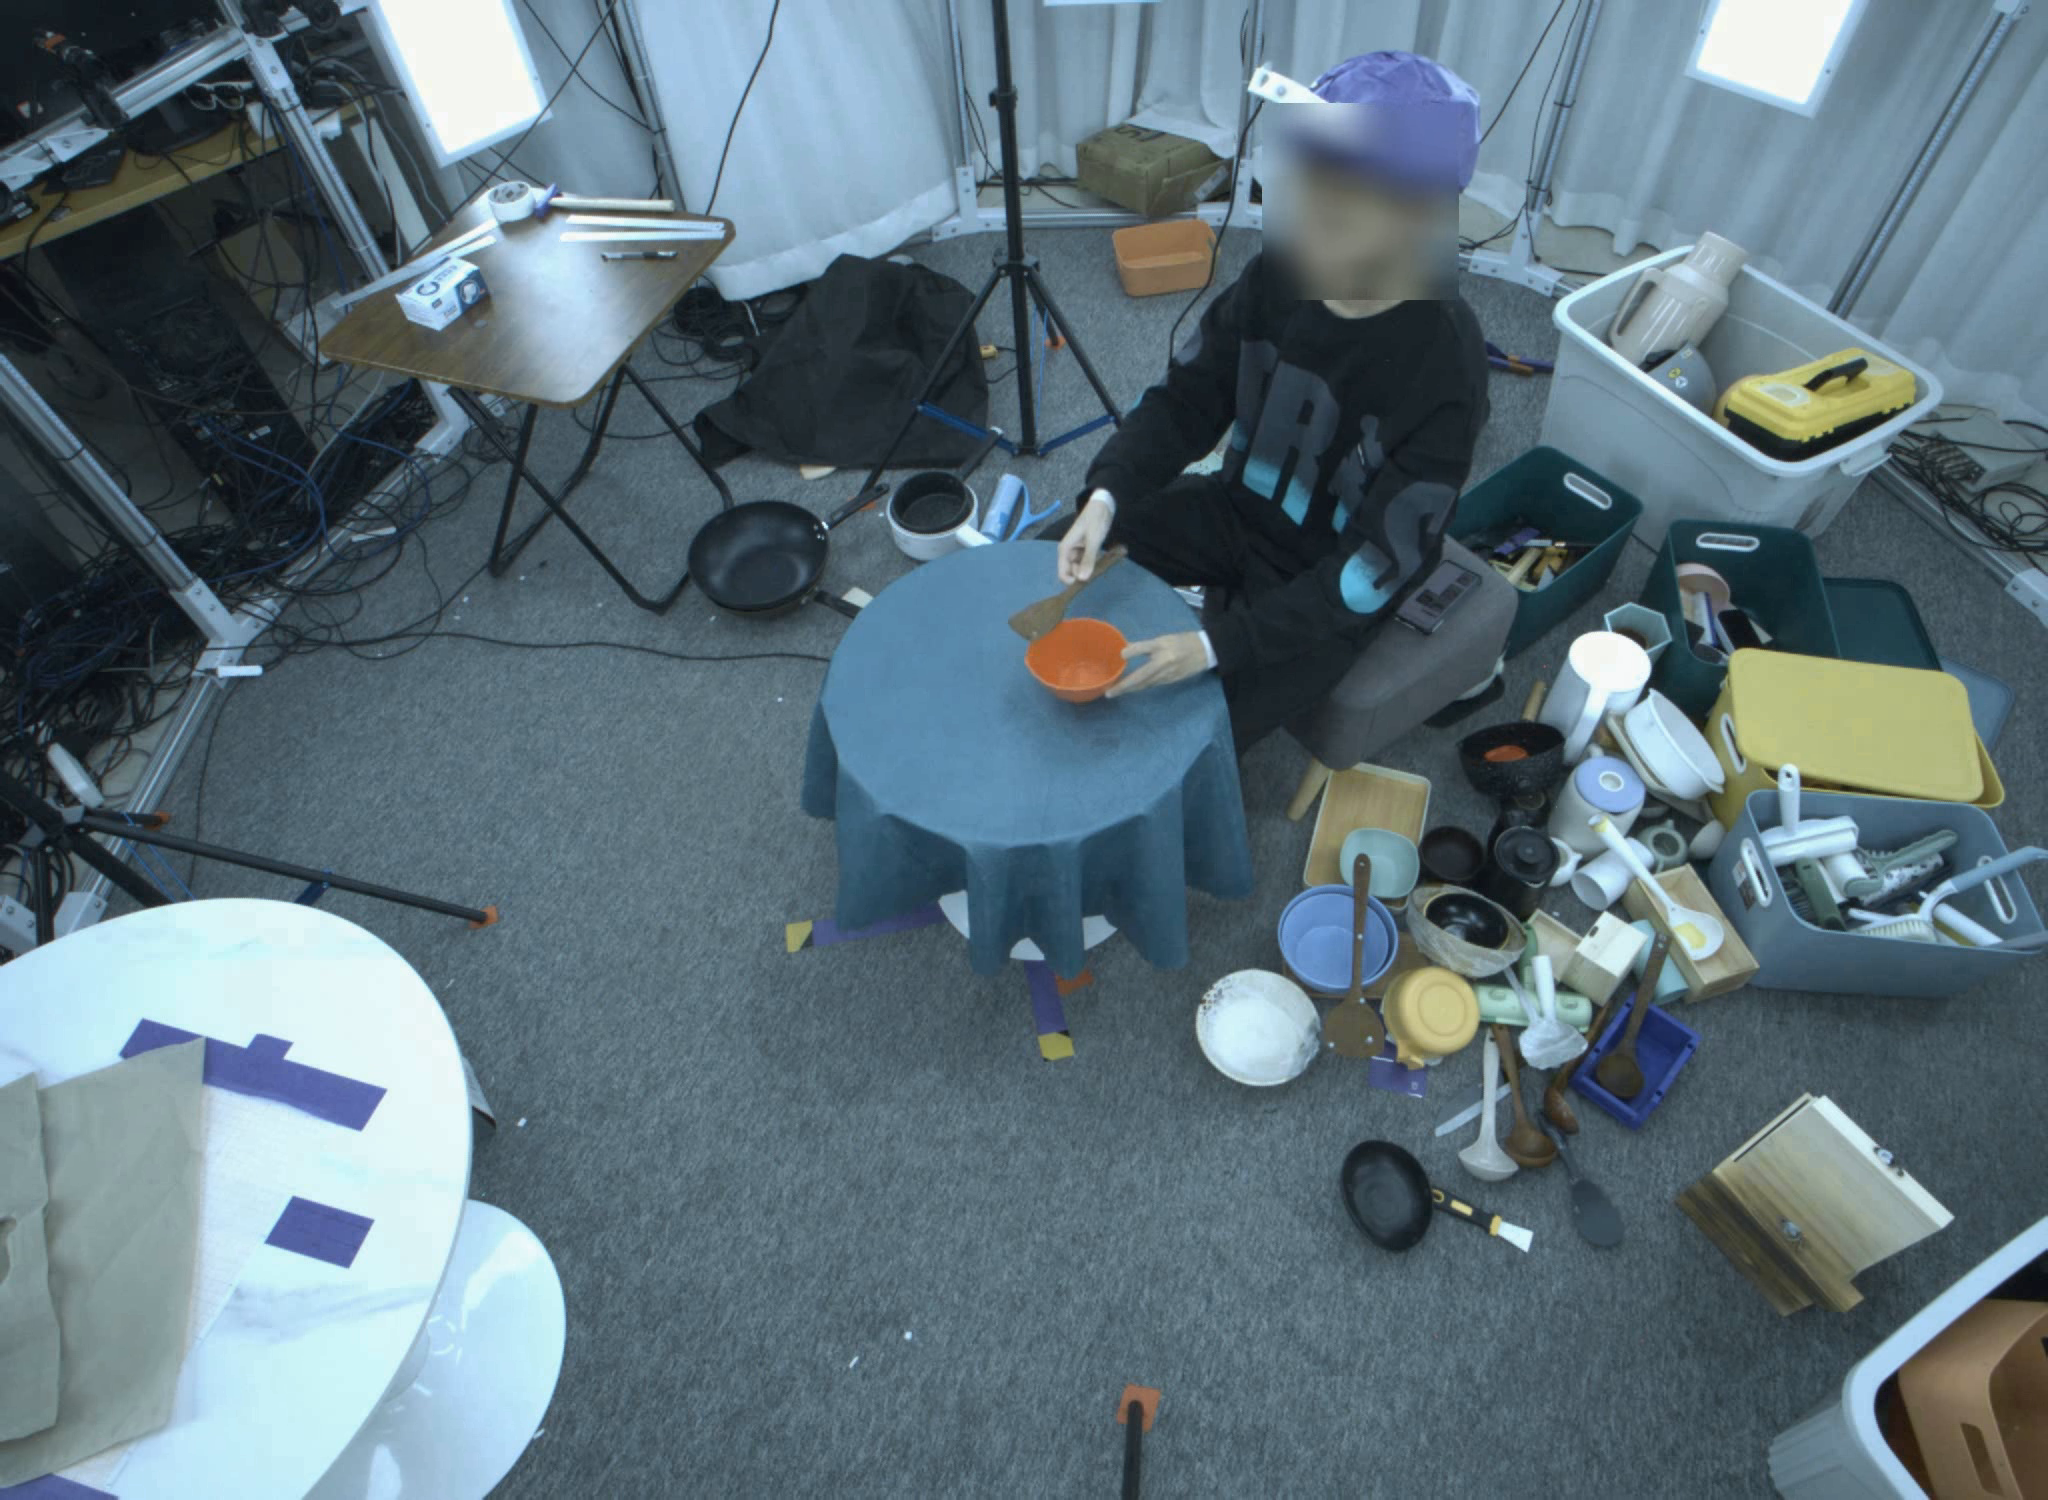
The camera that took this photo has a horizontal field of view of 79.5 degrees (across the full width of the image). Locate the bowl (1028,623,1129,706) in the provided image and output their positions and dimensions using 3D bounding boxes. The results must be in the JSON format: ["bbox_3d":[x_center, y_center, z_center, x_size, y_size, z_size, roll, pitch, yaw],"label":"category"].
[{"bbox_3d":[0.082,-0.111,1.811,0.148,0.106,0.146,-2,56,4],"label":"bowl"}]

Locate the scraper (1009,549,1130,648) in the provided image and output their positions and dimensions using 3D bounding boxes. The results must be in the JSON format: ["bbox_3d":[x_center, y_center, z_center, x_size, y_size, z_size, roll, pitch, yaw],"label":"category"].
[{"bbox_3d":[0.073,-0.228,1.816,0.212,0.011,0.074,-41,52,-9],"label":"scraper"}]
